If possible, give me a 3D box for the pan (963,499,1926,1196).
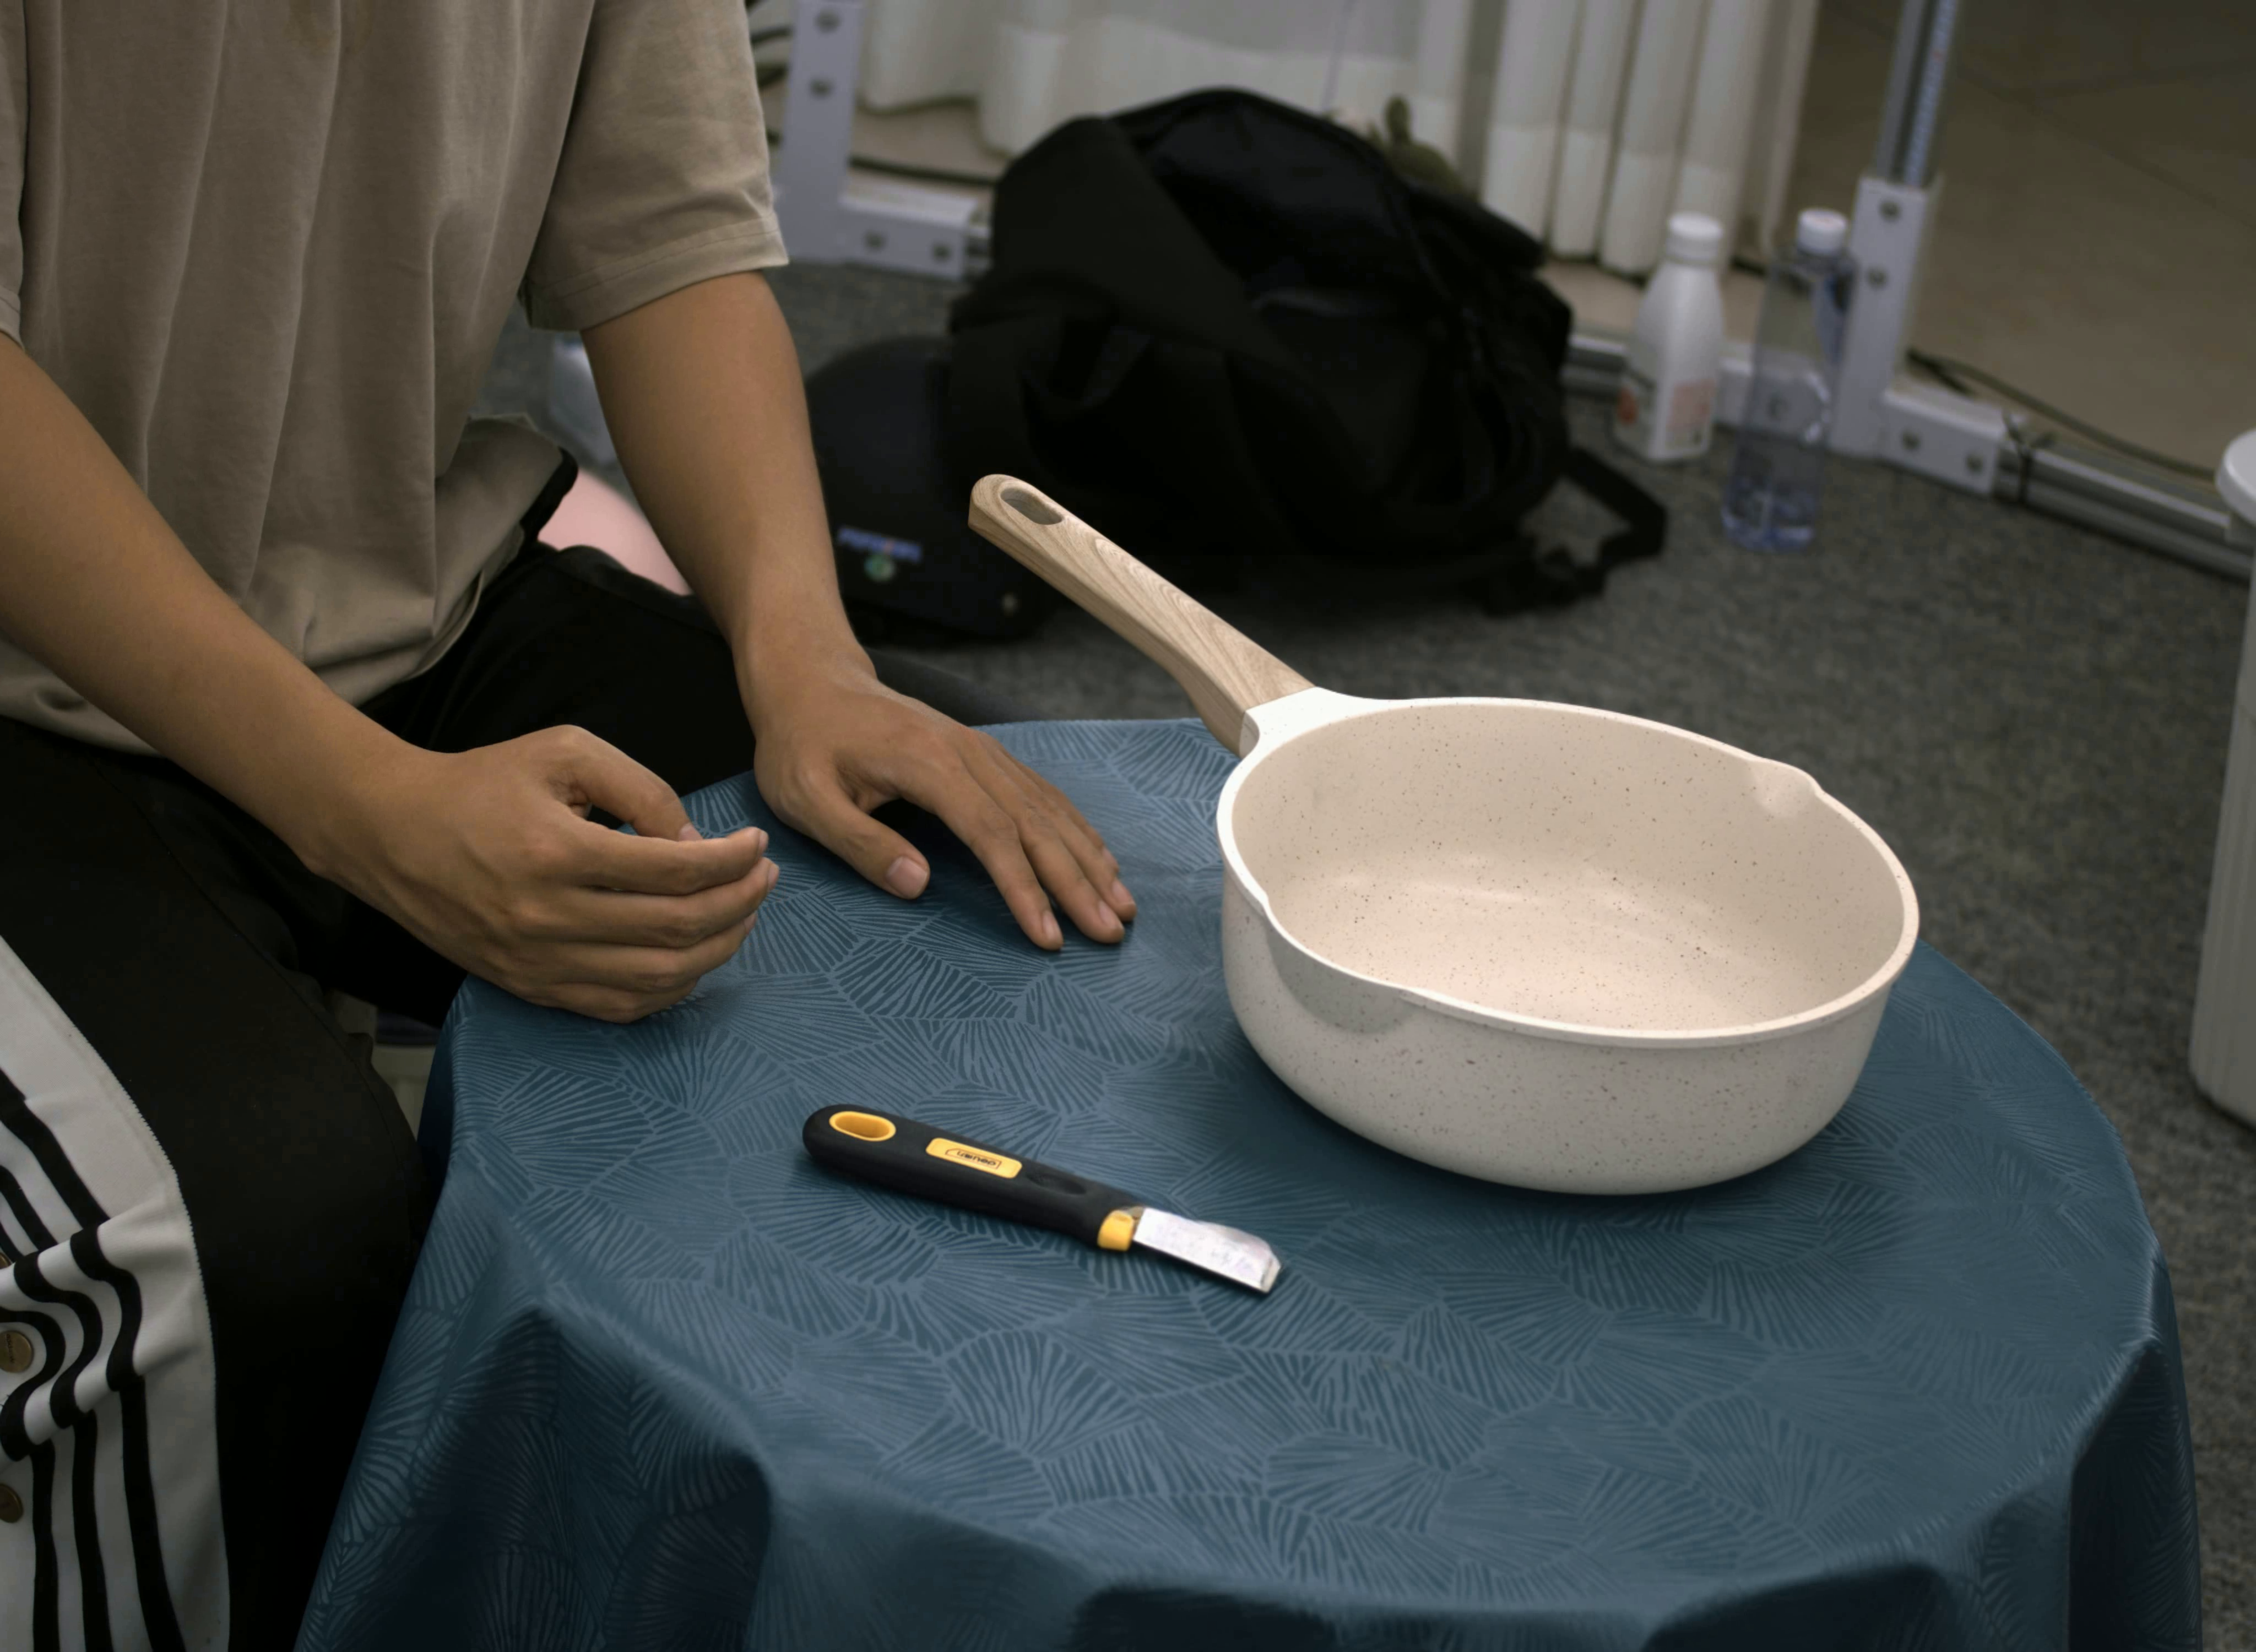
[{"bbox_3d":[0.091,0.003,1.959,0.262,0.101,0.438,-22,39,-39],"label":"pan"}]

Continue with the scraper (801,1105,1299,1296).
[{"bbox_3d":[-0.028,0.125,1.779,0.171,0.015,0.039,15,34,10],"label":"scraper"}]
